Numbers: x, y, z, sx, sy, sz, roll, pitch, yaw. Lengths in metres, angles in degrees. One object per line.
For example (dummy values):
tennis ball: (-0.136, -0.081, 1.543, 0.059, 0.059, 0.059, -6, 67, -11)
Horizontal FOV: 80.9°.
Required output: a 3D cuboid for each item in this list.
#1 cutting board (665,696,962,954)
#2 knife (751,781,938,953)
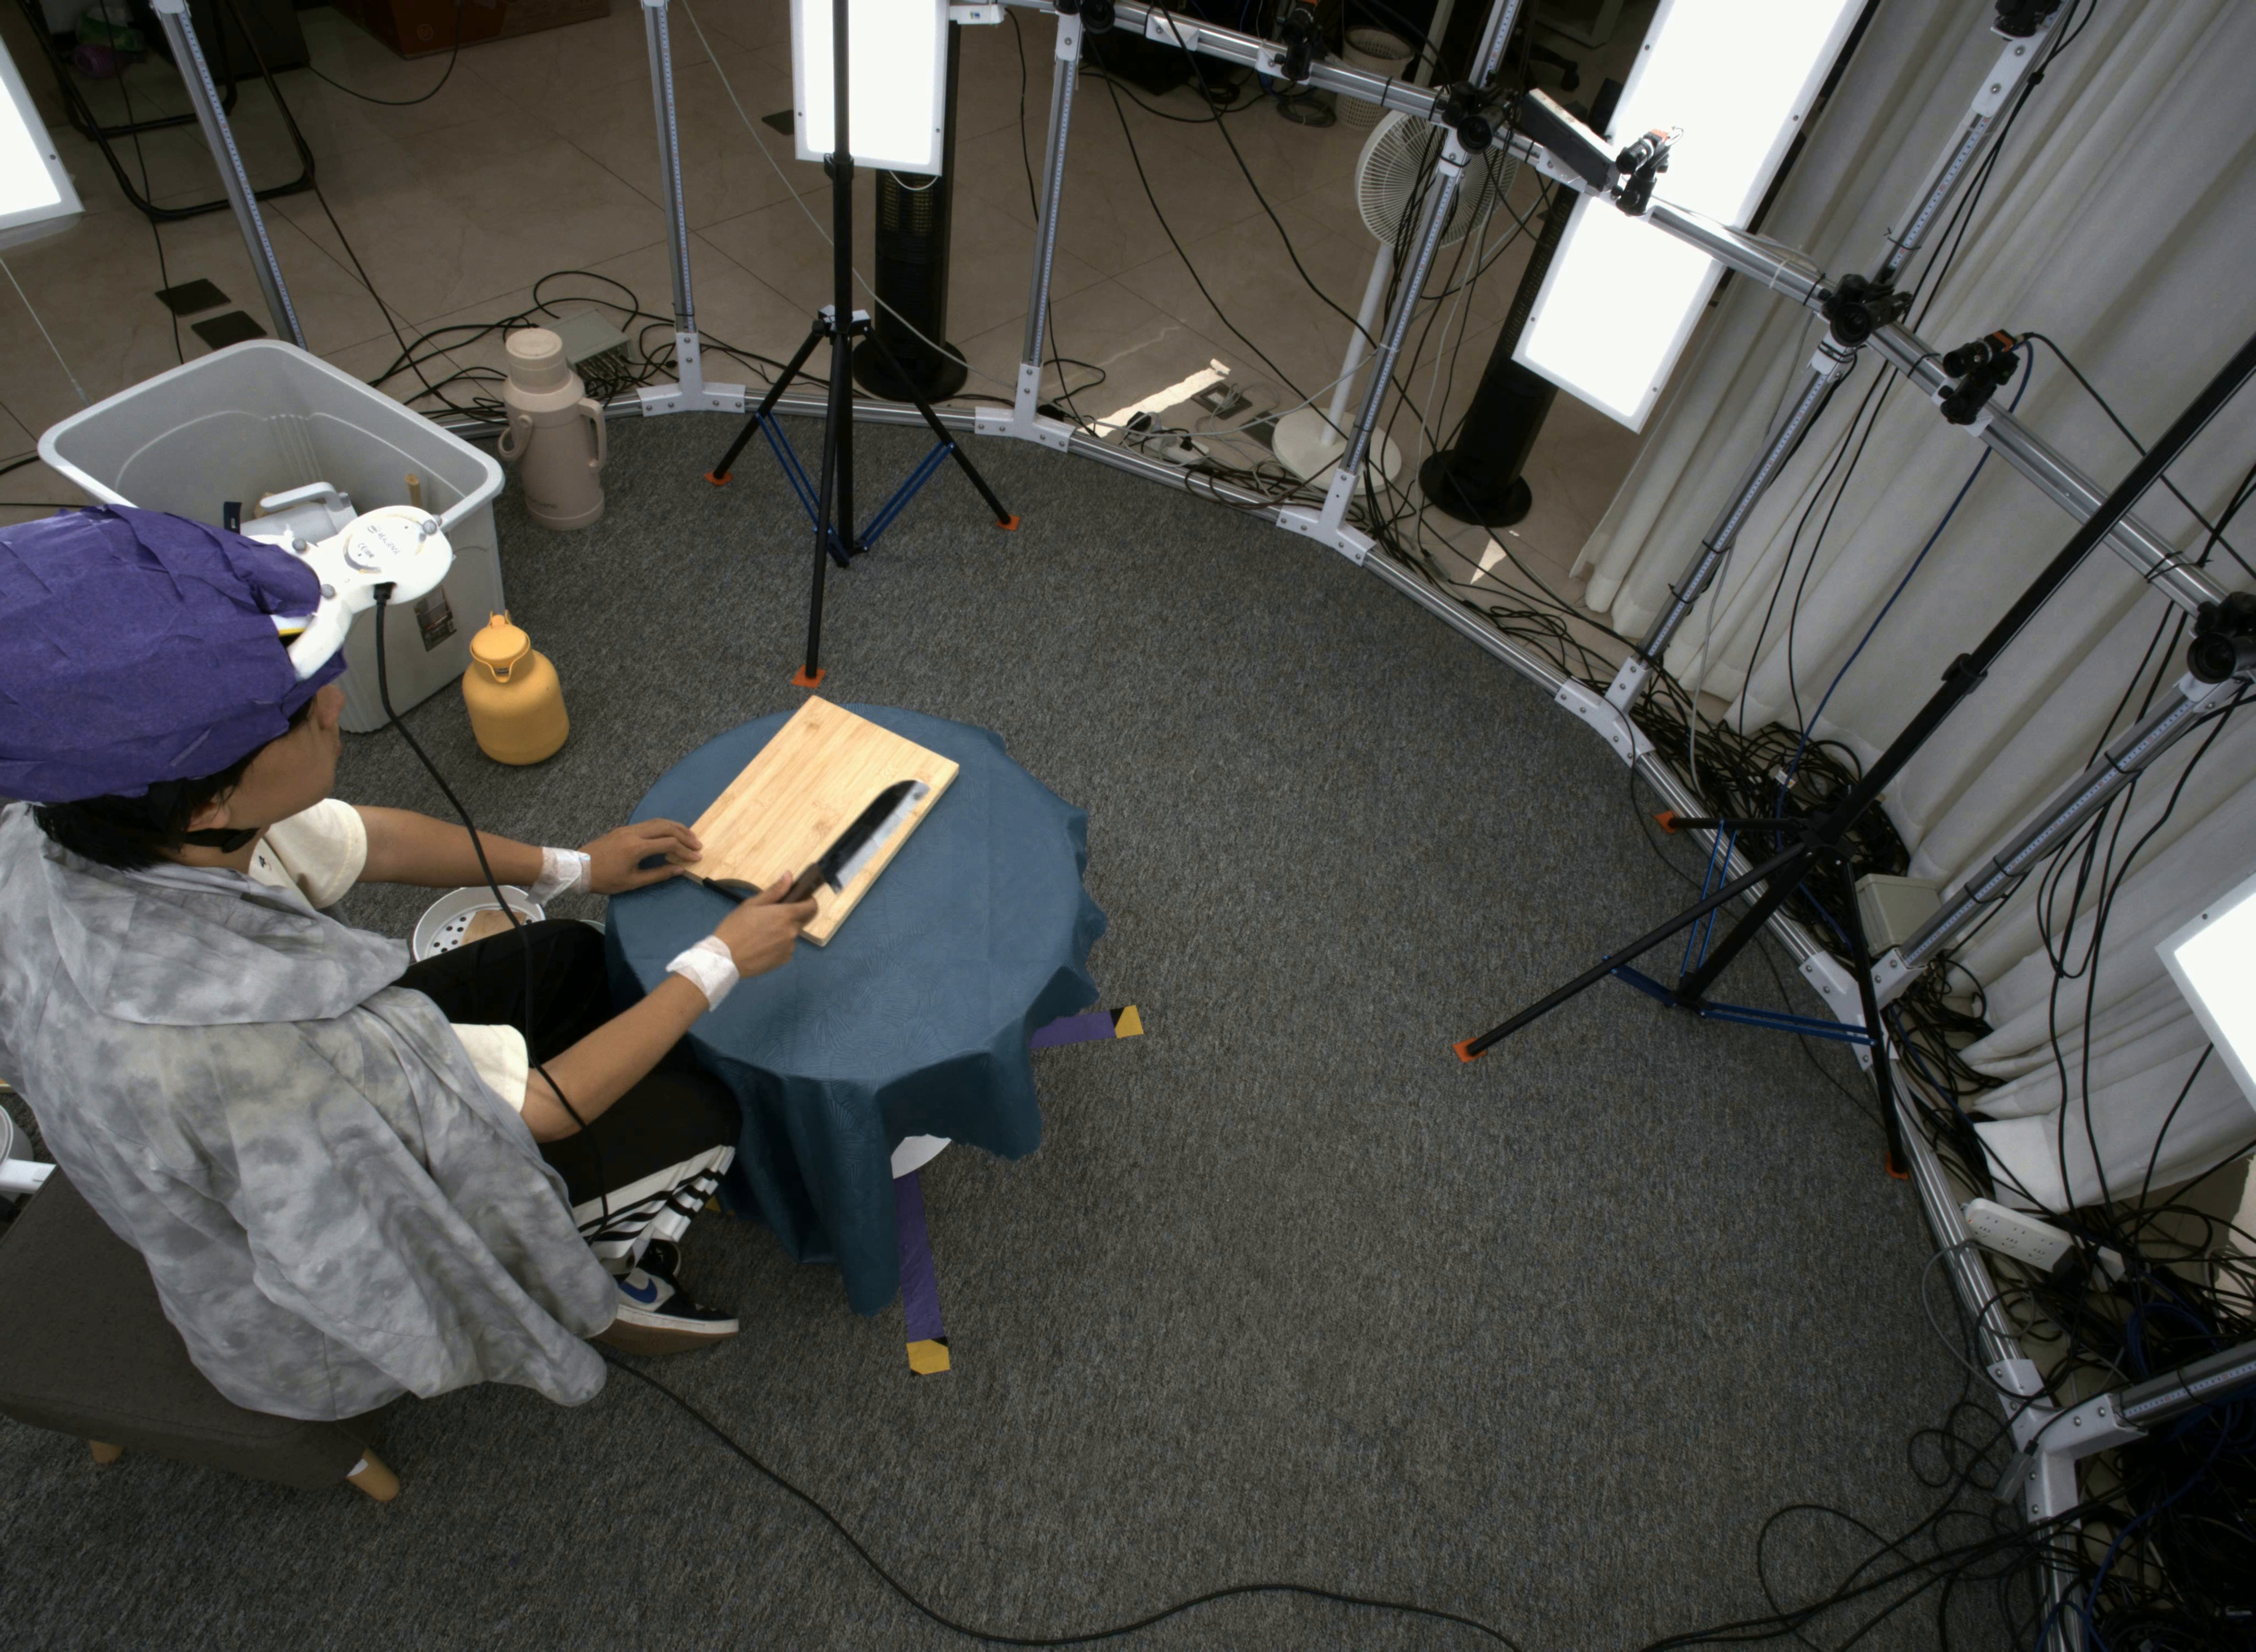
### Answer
cutting board: (-0.409, -0.013, 1.729, 0.247, 0.024, 0.346, 26, 52, 6)
knife: (-0.333, 0.047, 1.550, 0.023, 0.071, 0.299, 25, 65, 34)
